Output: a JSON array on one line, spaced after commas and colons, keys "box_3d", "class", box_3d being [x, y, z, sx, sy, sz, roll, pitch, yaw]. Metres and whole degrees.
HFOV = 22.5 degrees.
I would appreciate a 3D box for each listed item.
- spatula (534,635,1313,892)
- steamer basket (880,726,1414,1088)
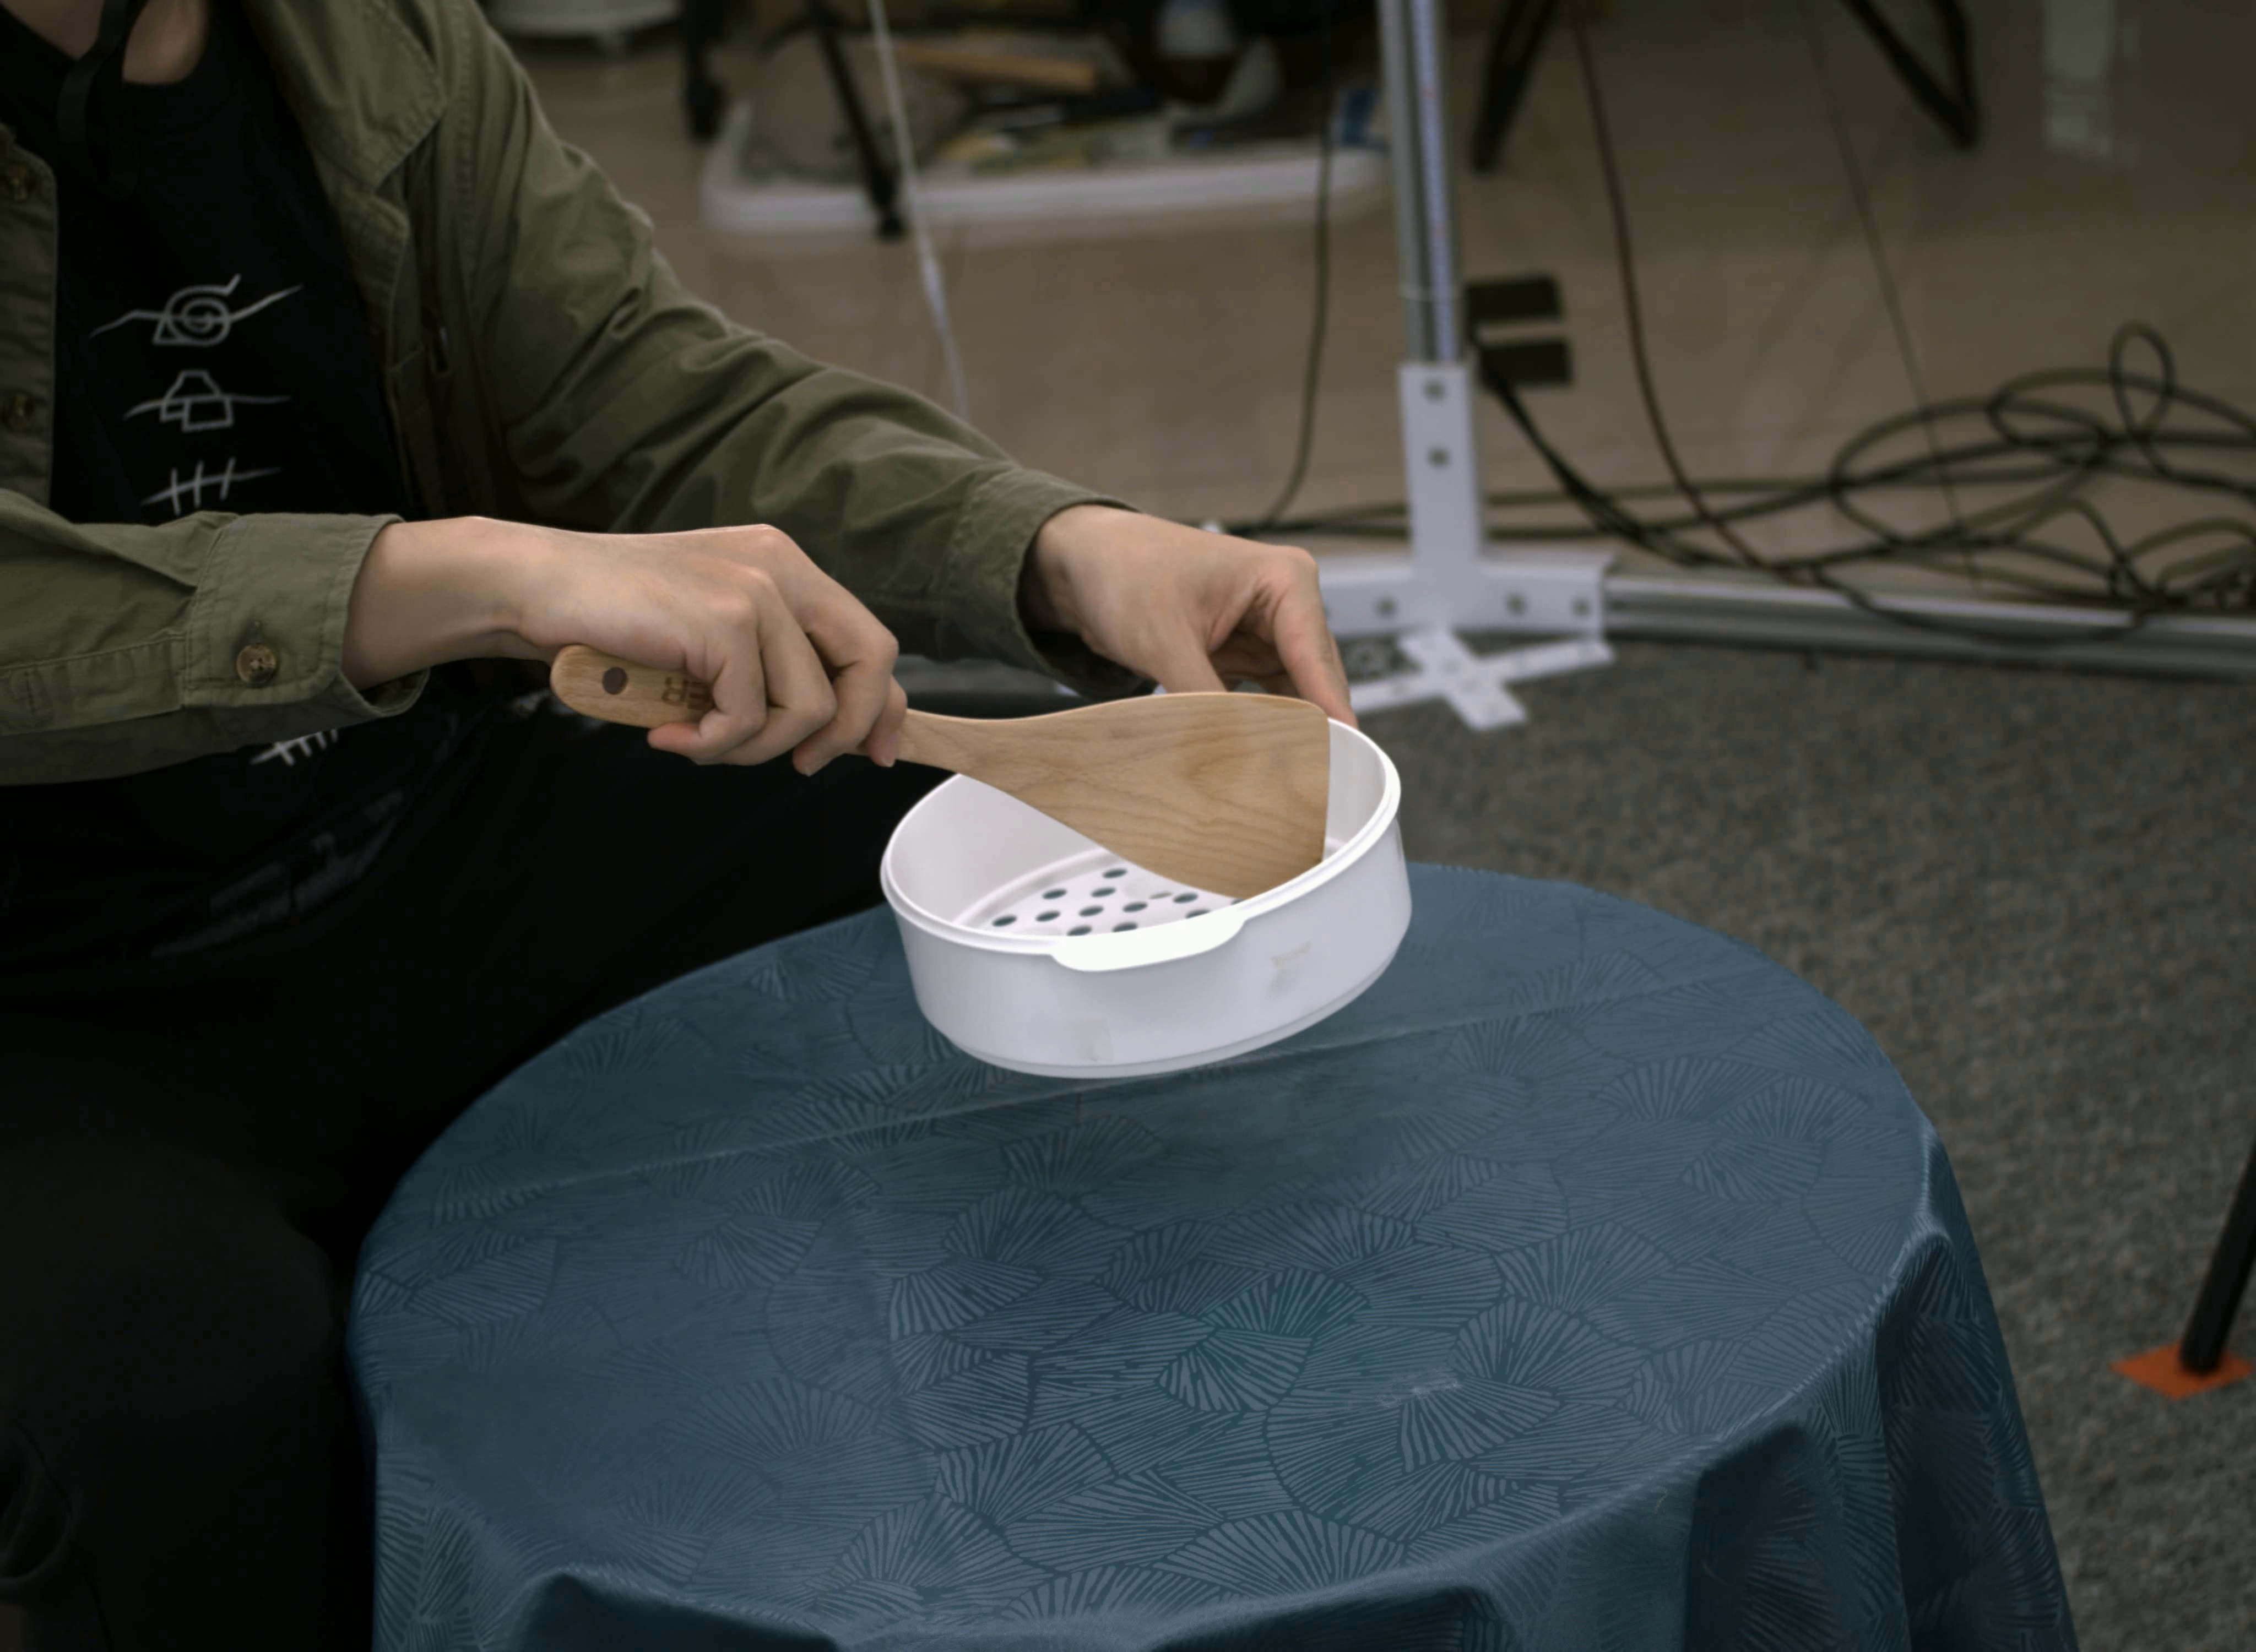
[{"box_3d": [-0.068, -0.034, 2.061, 0.328, 0.080, 0.016, 9, 10, -32], "class": "spatula"}, {"box_3d": [0.010, 0.030, 2.155, 0.201, 0.070, 0.227, -10, 24, 3], "class": "steamer basket"}]
